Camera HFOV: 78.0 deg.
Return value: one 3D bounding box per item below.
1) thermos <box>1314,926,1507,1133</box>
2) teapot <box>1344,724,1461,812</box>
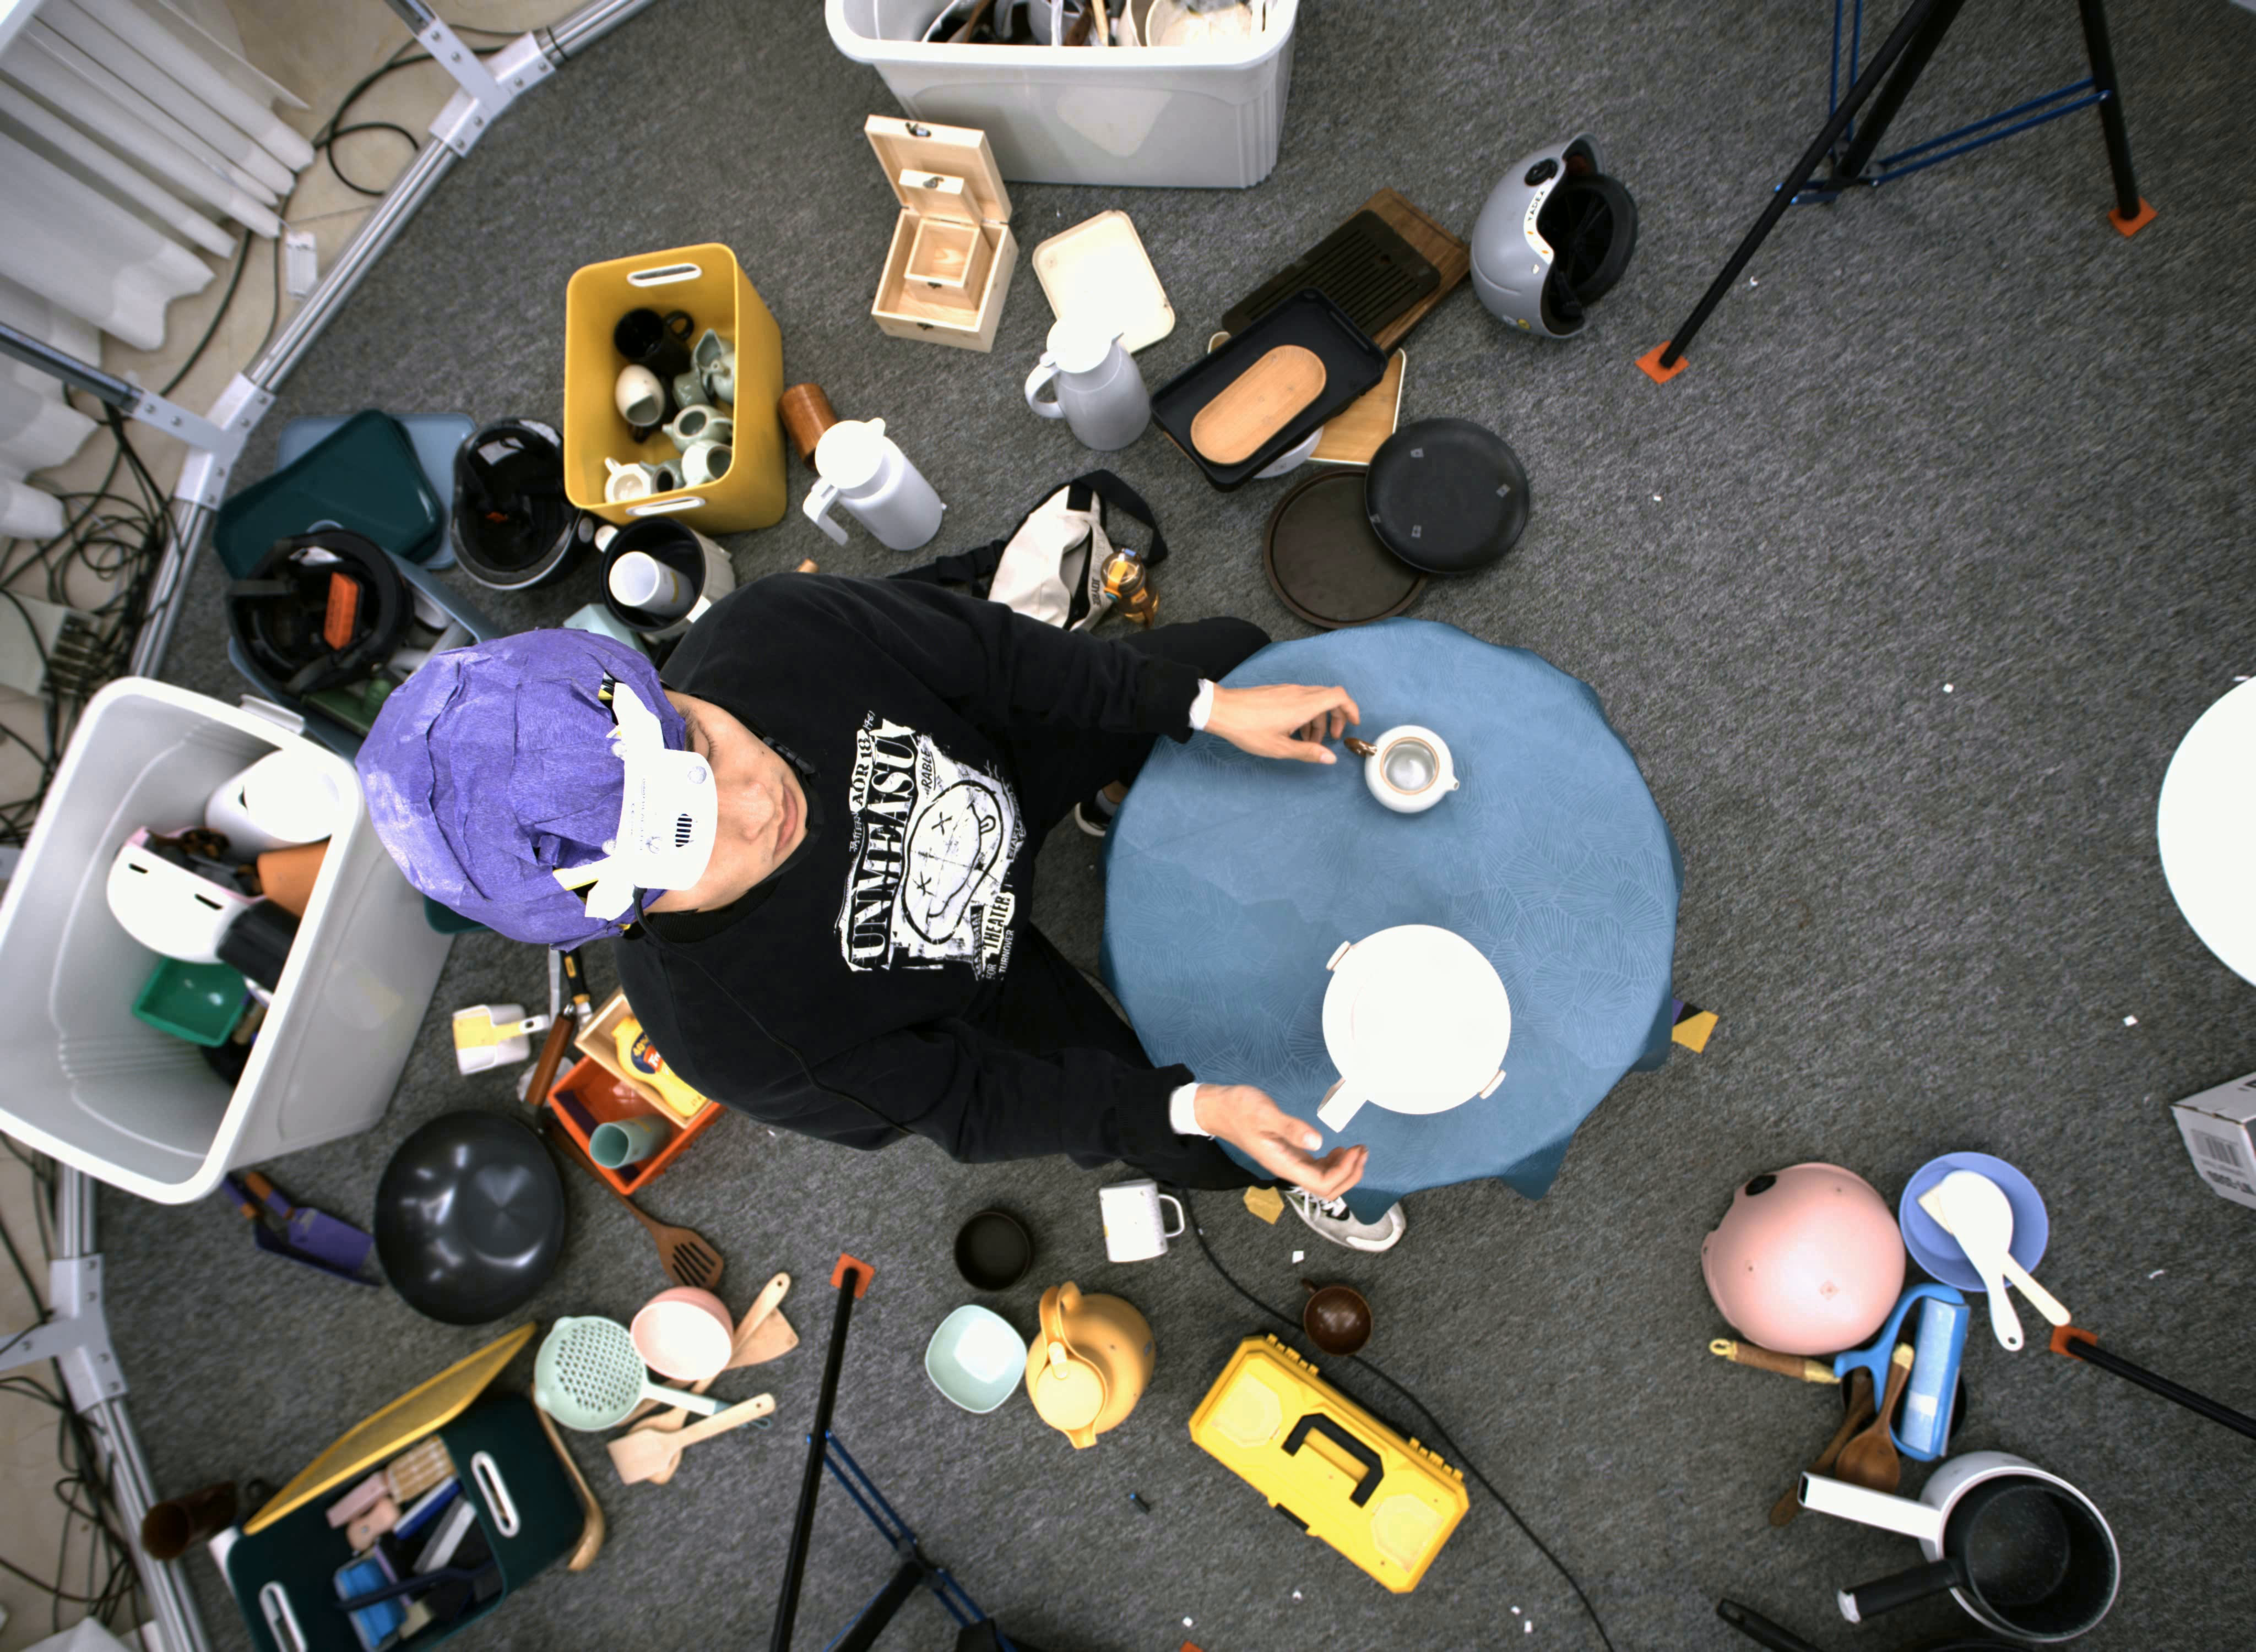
[{"bbox_3d":[0.245,0.183,1.260,0.175,0.407,0.207,39,92,10],"label":"thermos"},{"bbox_3d":[0.285,-0.066,1.435,0.128,0.059,0.092,22,94,11],"label":"teapot"}]
